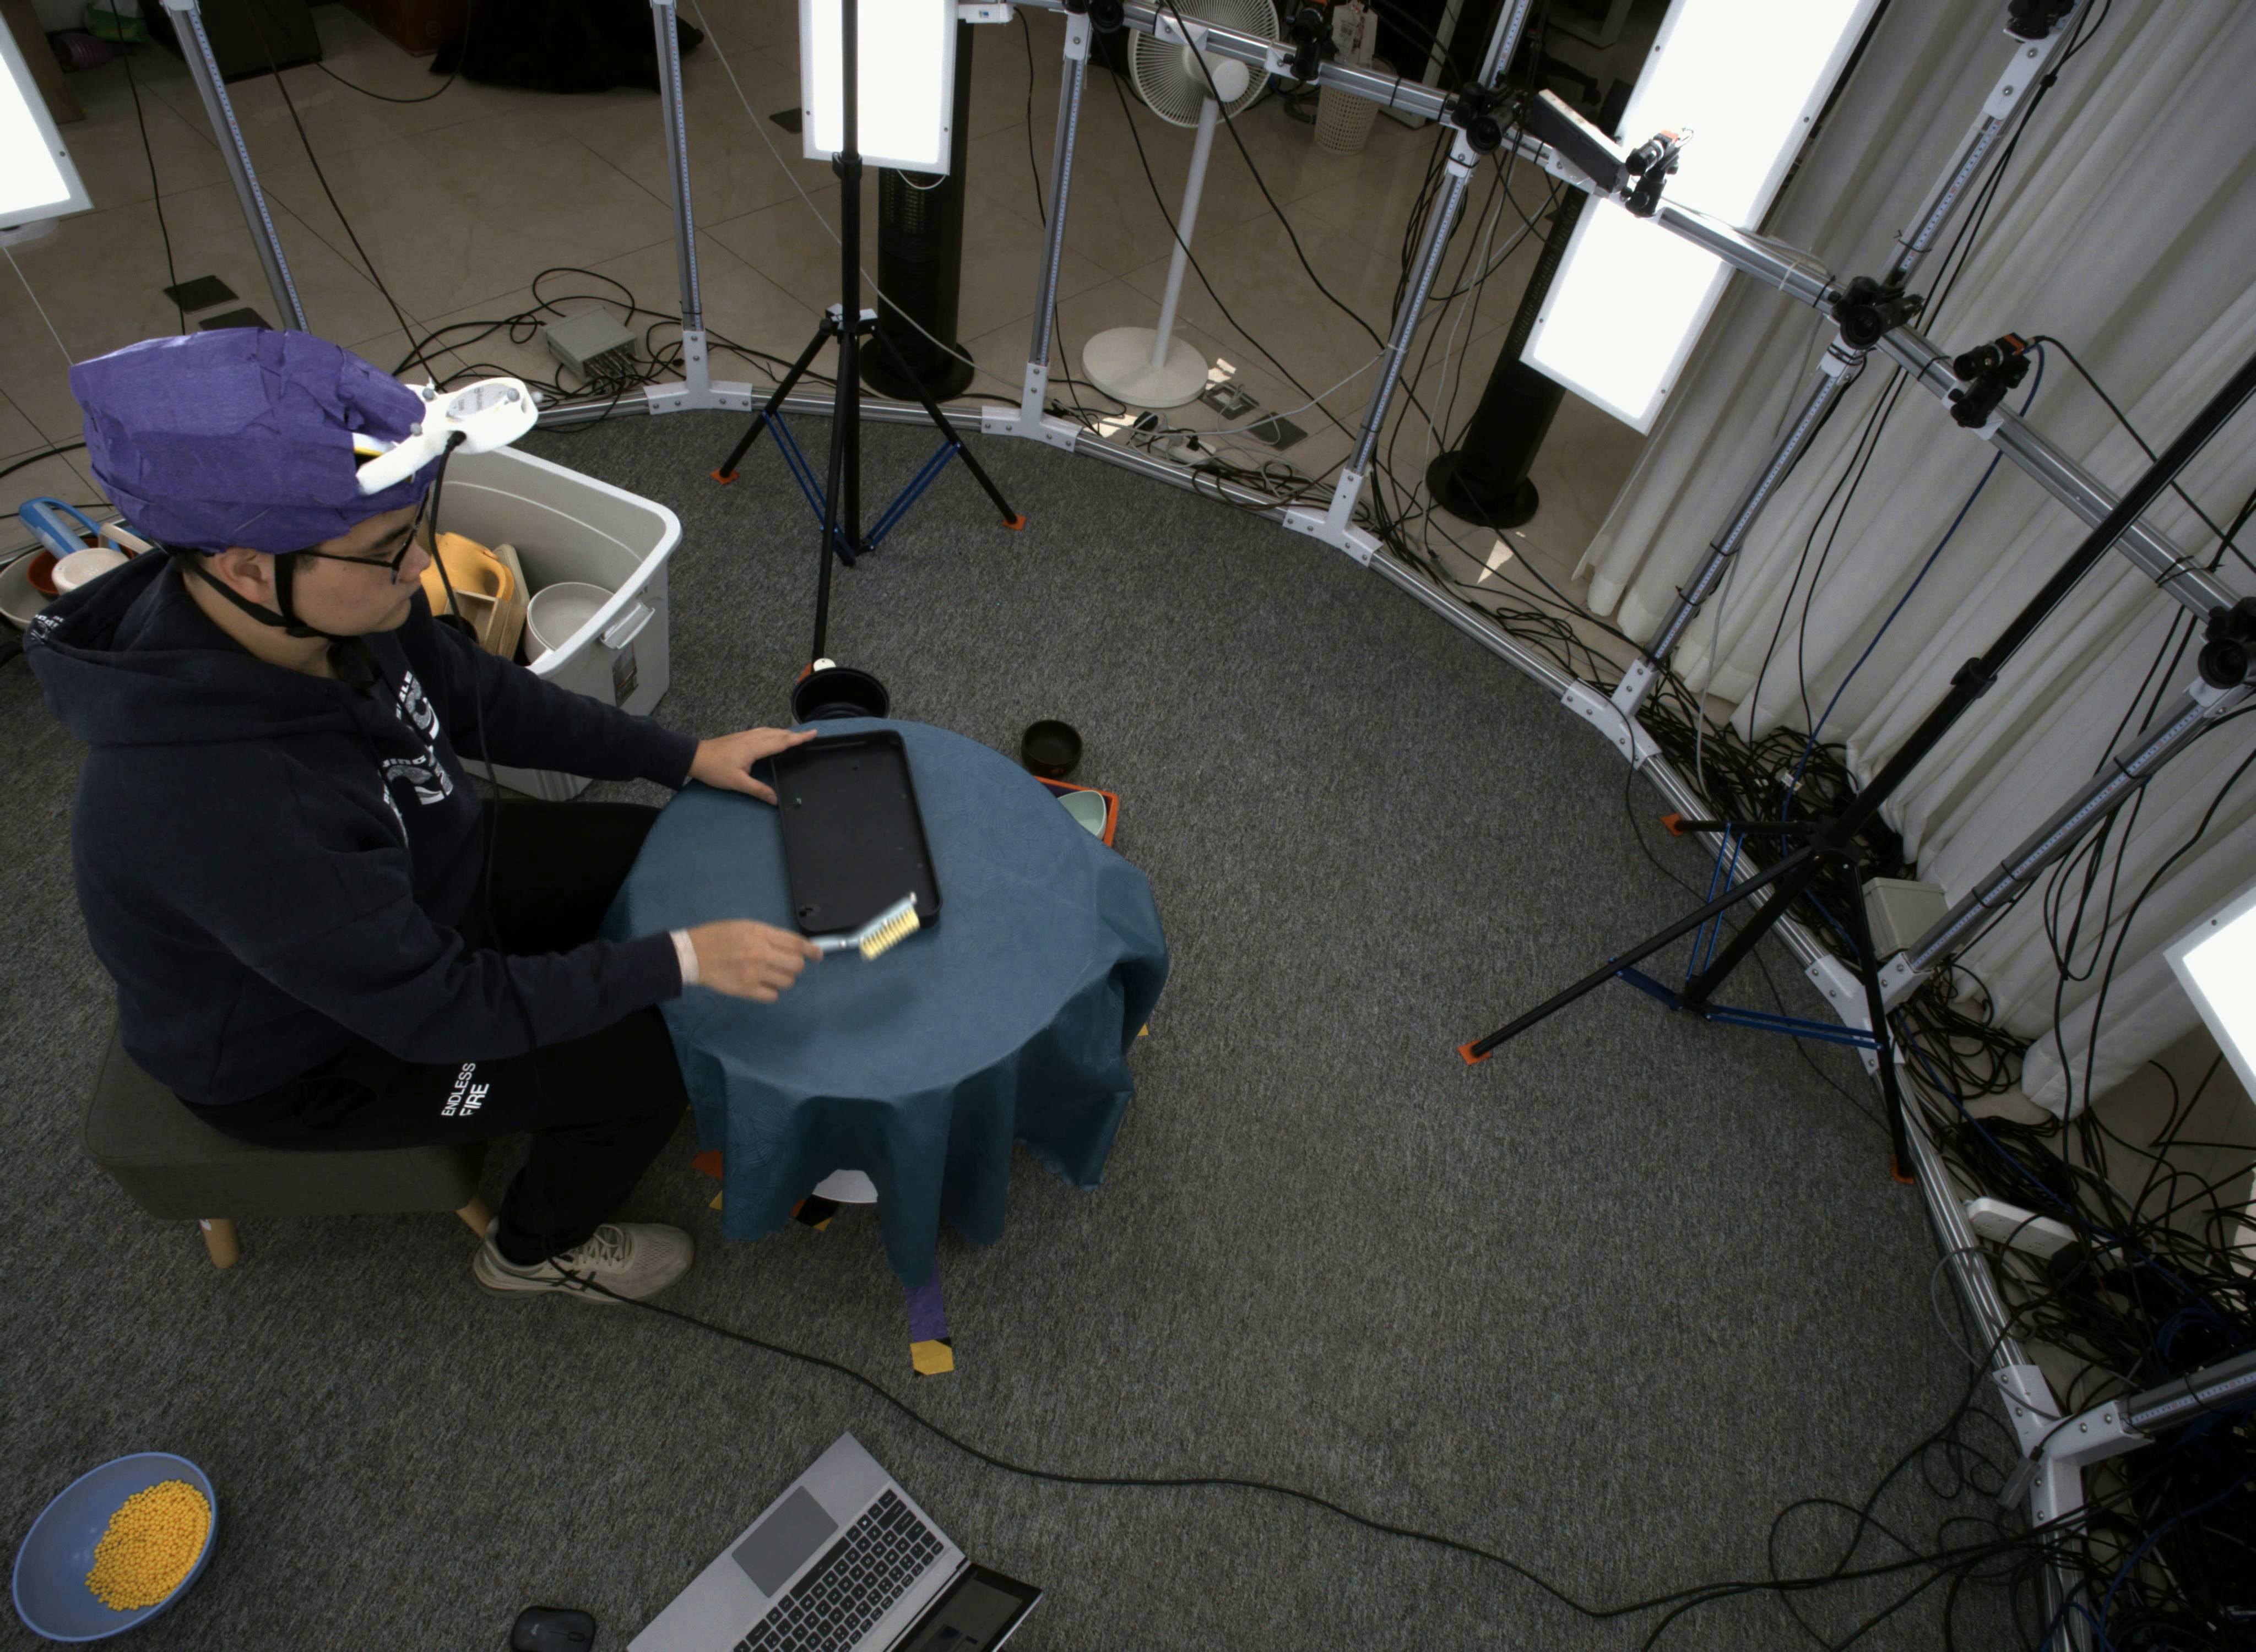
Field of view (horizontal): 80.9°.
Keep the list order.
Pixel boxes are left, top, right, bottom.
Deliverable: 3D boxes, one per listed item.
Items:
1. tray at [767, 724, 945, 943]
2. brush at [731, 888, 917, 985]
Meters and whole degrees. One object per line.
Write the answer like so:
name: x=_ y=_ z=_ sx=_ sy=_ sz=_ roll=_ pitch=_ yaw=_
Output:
tray: x=-0.362 y=0.002 z=1.711 sx=0.185 sy=0.038 sz=0.310 roll=-9 pitch=57 yaw=-19
brush: x=-0.352 y=0.136 z=1.509 sx=0.229 sy=0.037 sz=0.051 roll=-24 pitch=100 yaw=-22
